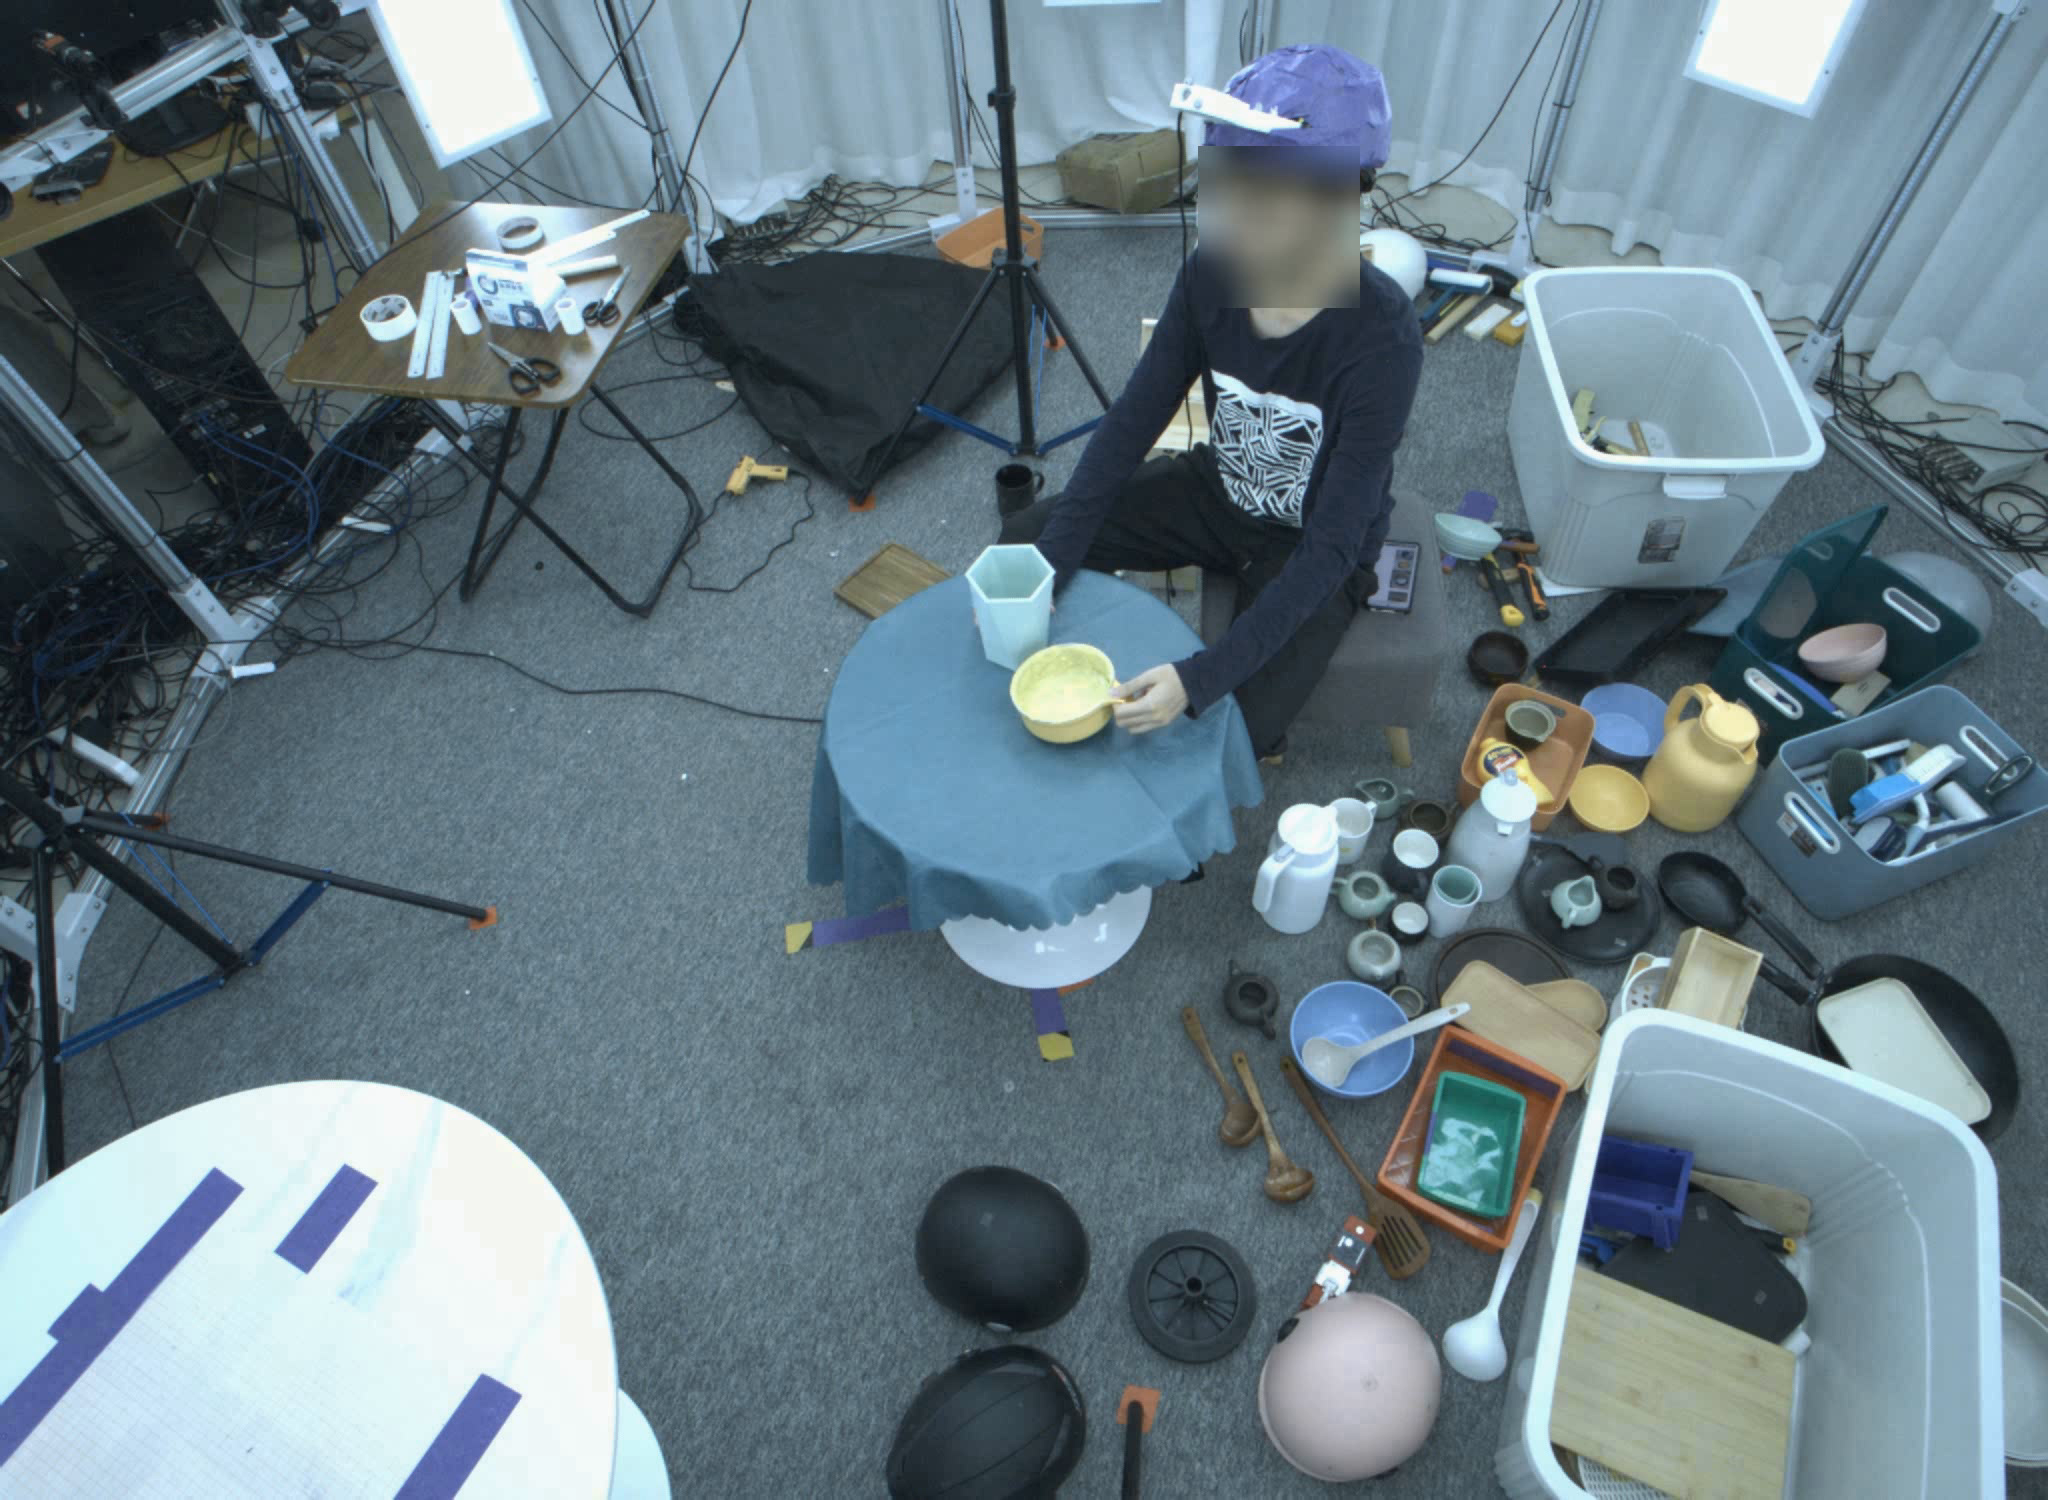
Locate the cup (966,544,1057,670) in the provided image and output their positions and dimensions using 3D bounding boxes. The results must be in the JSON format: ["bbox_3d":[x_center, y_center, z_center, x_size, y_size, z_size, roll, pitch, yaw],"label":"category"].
[{"bbox_3d":[-0.016,-0.209,1.828,0.116,0.164,0.128,-27,58,-16],"label":"cup"}]

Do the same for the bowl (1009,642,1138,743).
[{"bbox_3d":[0.072,-0.075,1.773,0.176,0.075,0.153,8,52,21],"label":"bowl"}]
